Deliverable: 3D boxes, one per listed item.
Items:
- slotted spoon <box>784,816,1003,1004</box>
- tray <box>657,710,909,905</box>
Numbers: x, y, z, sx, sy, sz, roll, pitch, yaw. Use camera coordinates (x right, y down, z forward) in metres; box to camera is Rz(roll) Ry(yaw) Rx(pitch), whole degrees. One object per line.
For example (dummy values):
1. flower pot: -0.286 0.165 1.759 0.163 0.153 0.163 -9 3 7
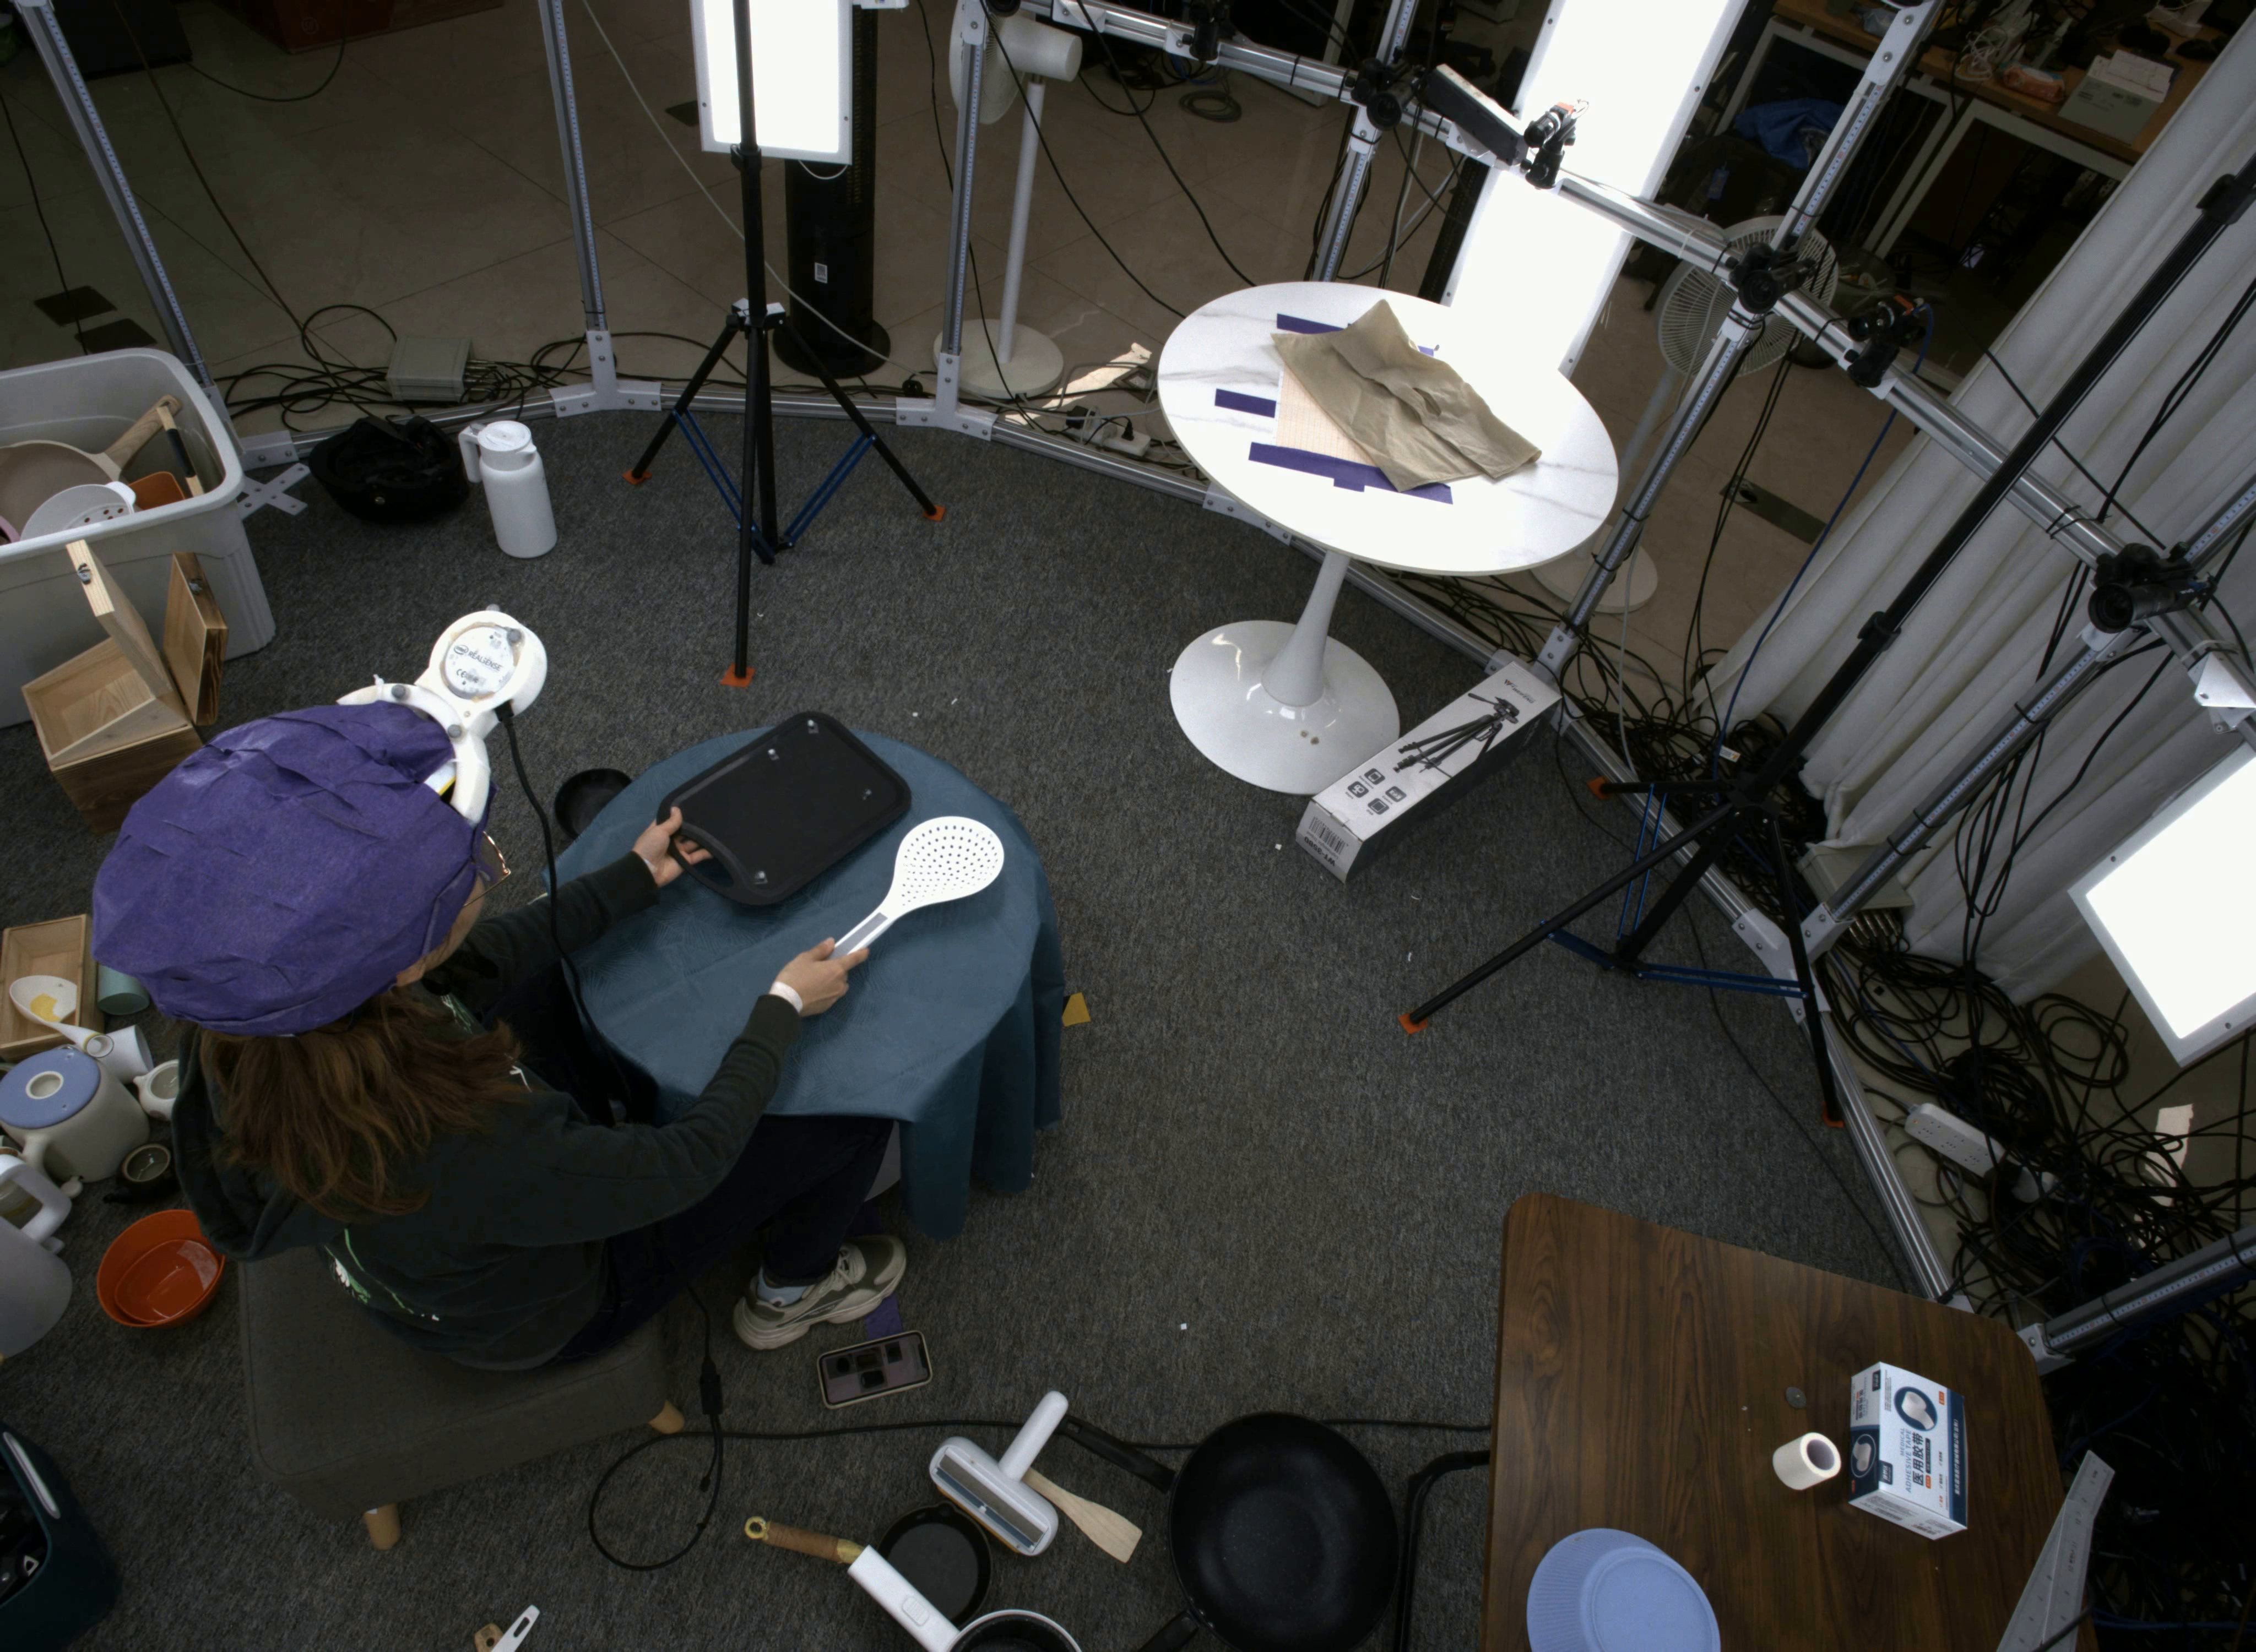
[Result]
1. slotted spoon: -0.296 0.103 1.637 0.132 0.047 0.350 32 48 20
2. tray: -0.451 -0.029 1.695 0.209 0.010 0.325 42 49 7
